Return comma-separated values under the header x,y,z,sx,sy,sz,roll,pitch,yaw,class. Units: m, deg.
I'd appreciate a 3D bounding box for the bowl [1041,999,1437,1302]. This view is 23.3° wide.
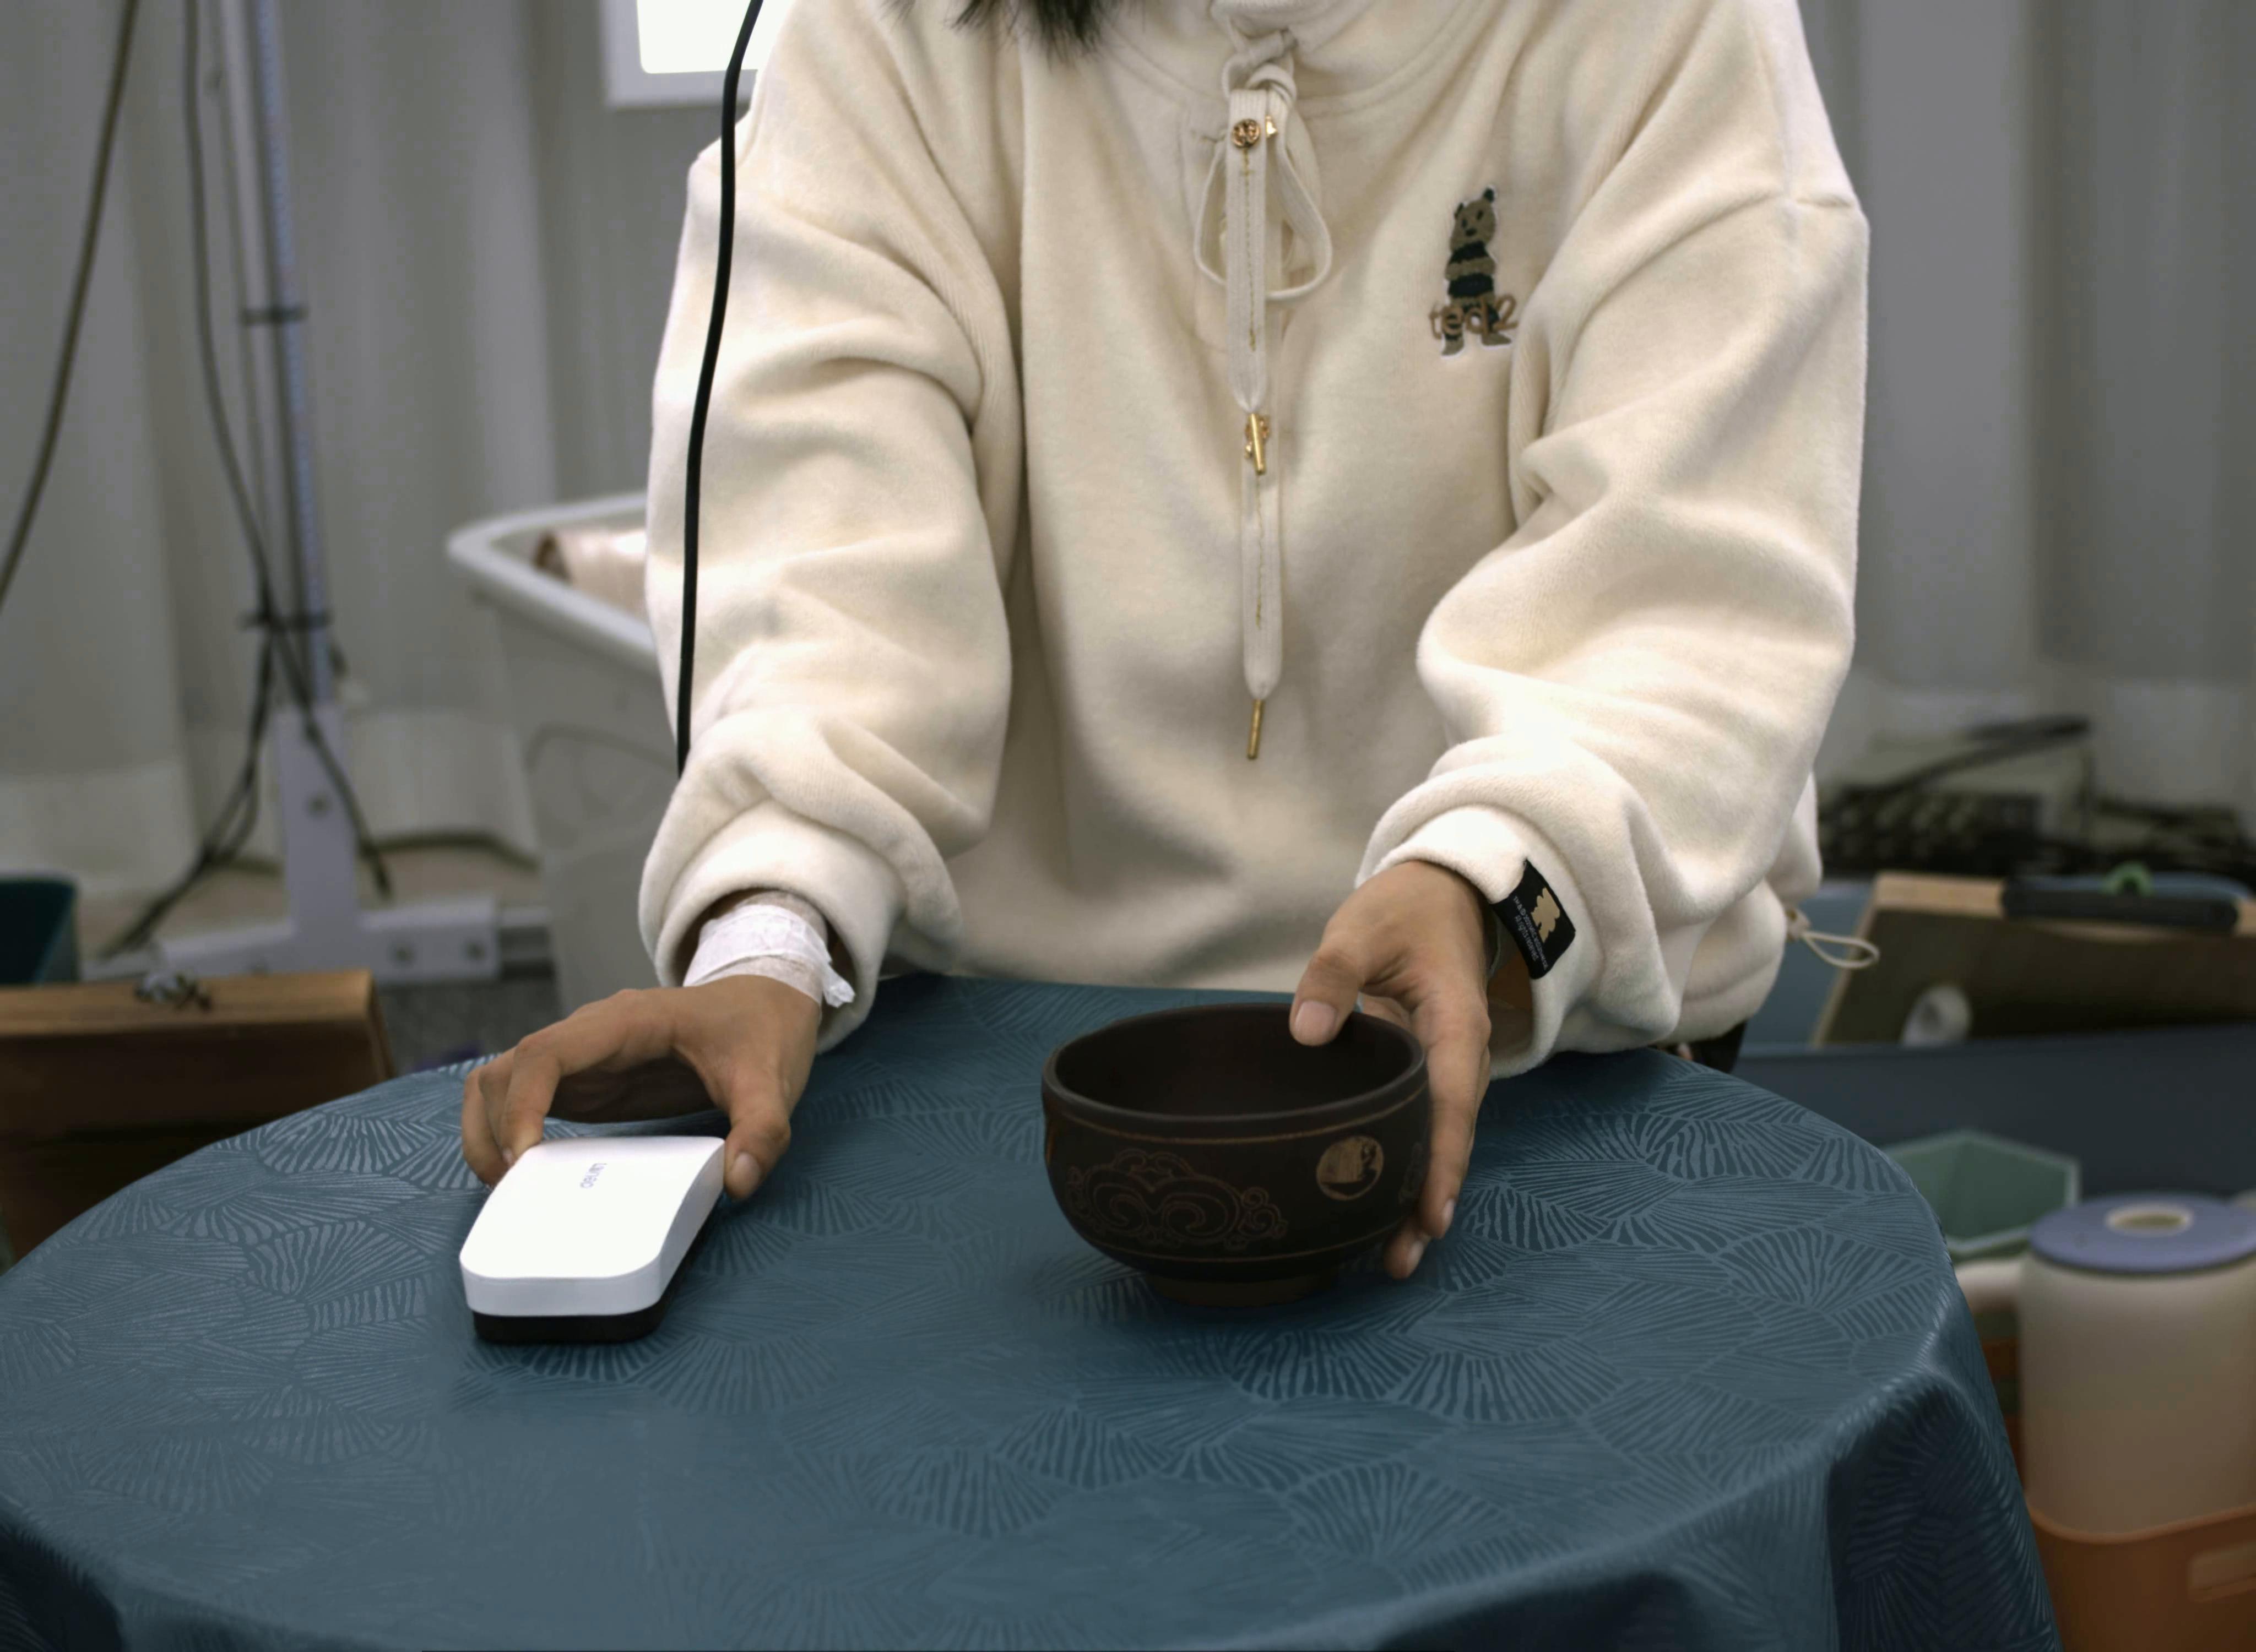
x,y,z,sx,sy,sz,roll,pitch,yaw,class
0.033,0.100,1.623,0.117,0.069,0.119,-1,14,0,bowl

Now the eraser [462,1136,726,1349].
x,y,z,sx,sy,sz,roll,pitch,yaw,class
-0.159,0.122,1.660,0.063,0.034,0.132,-1,15,8,eraser
